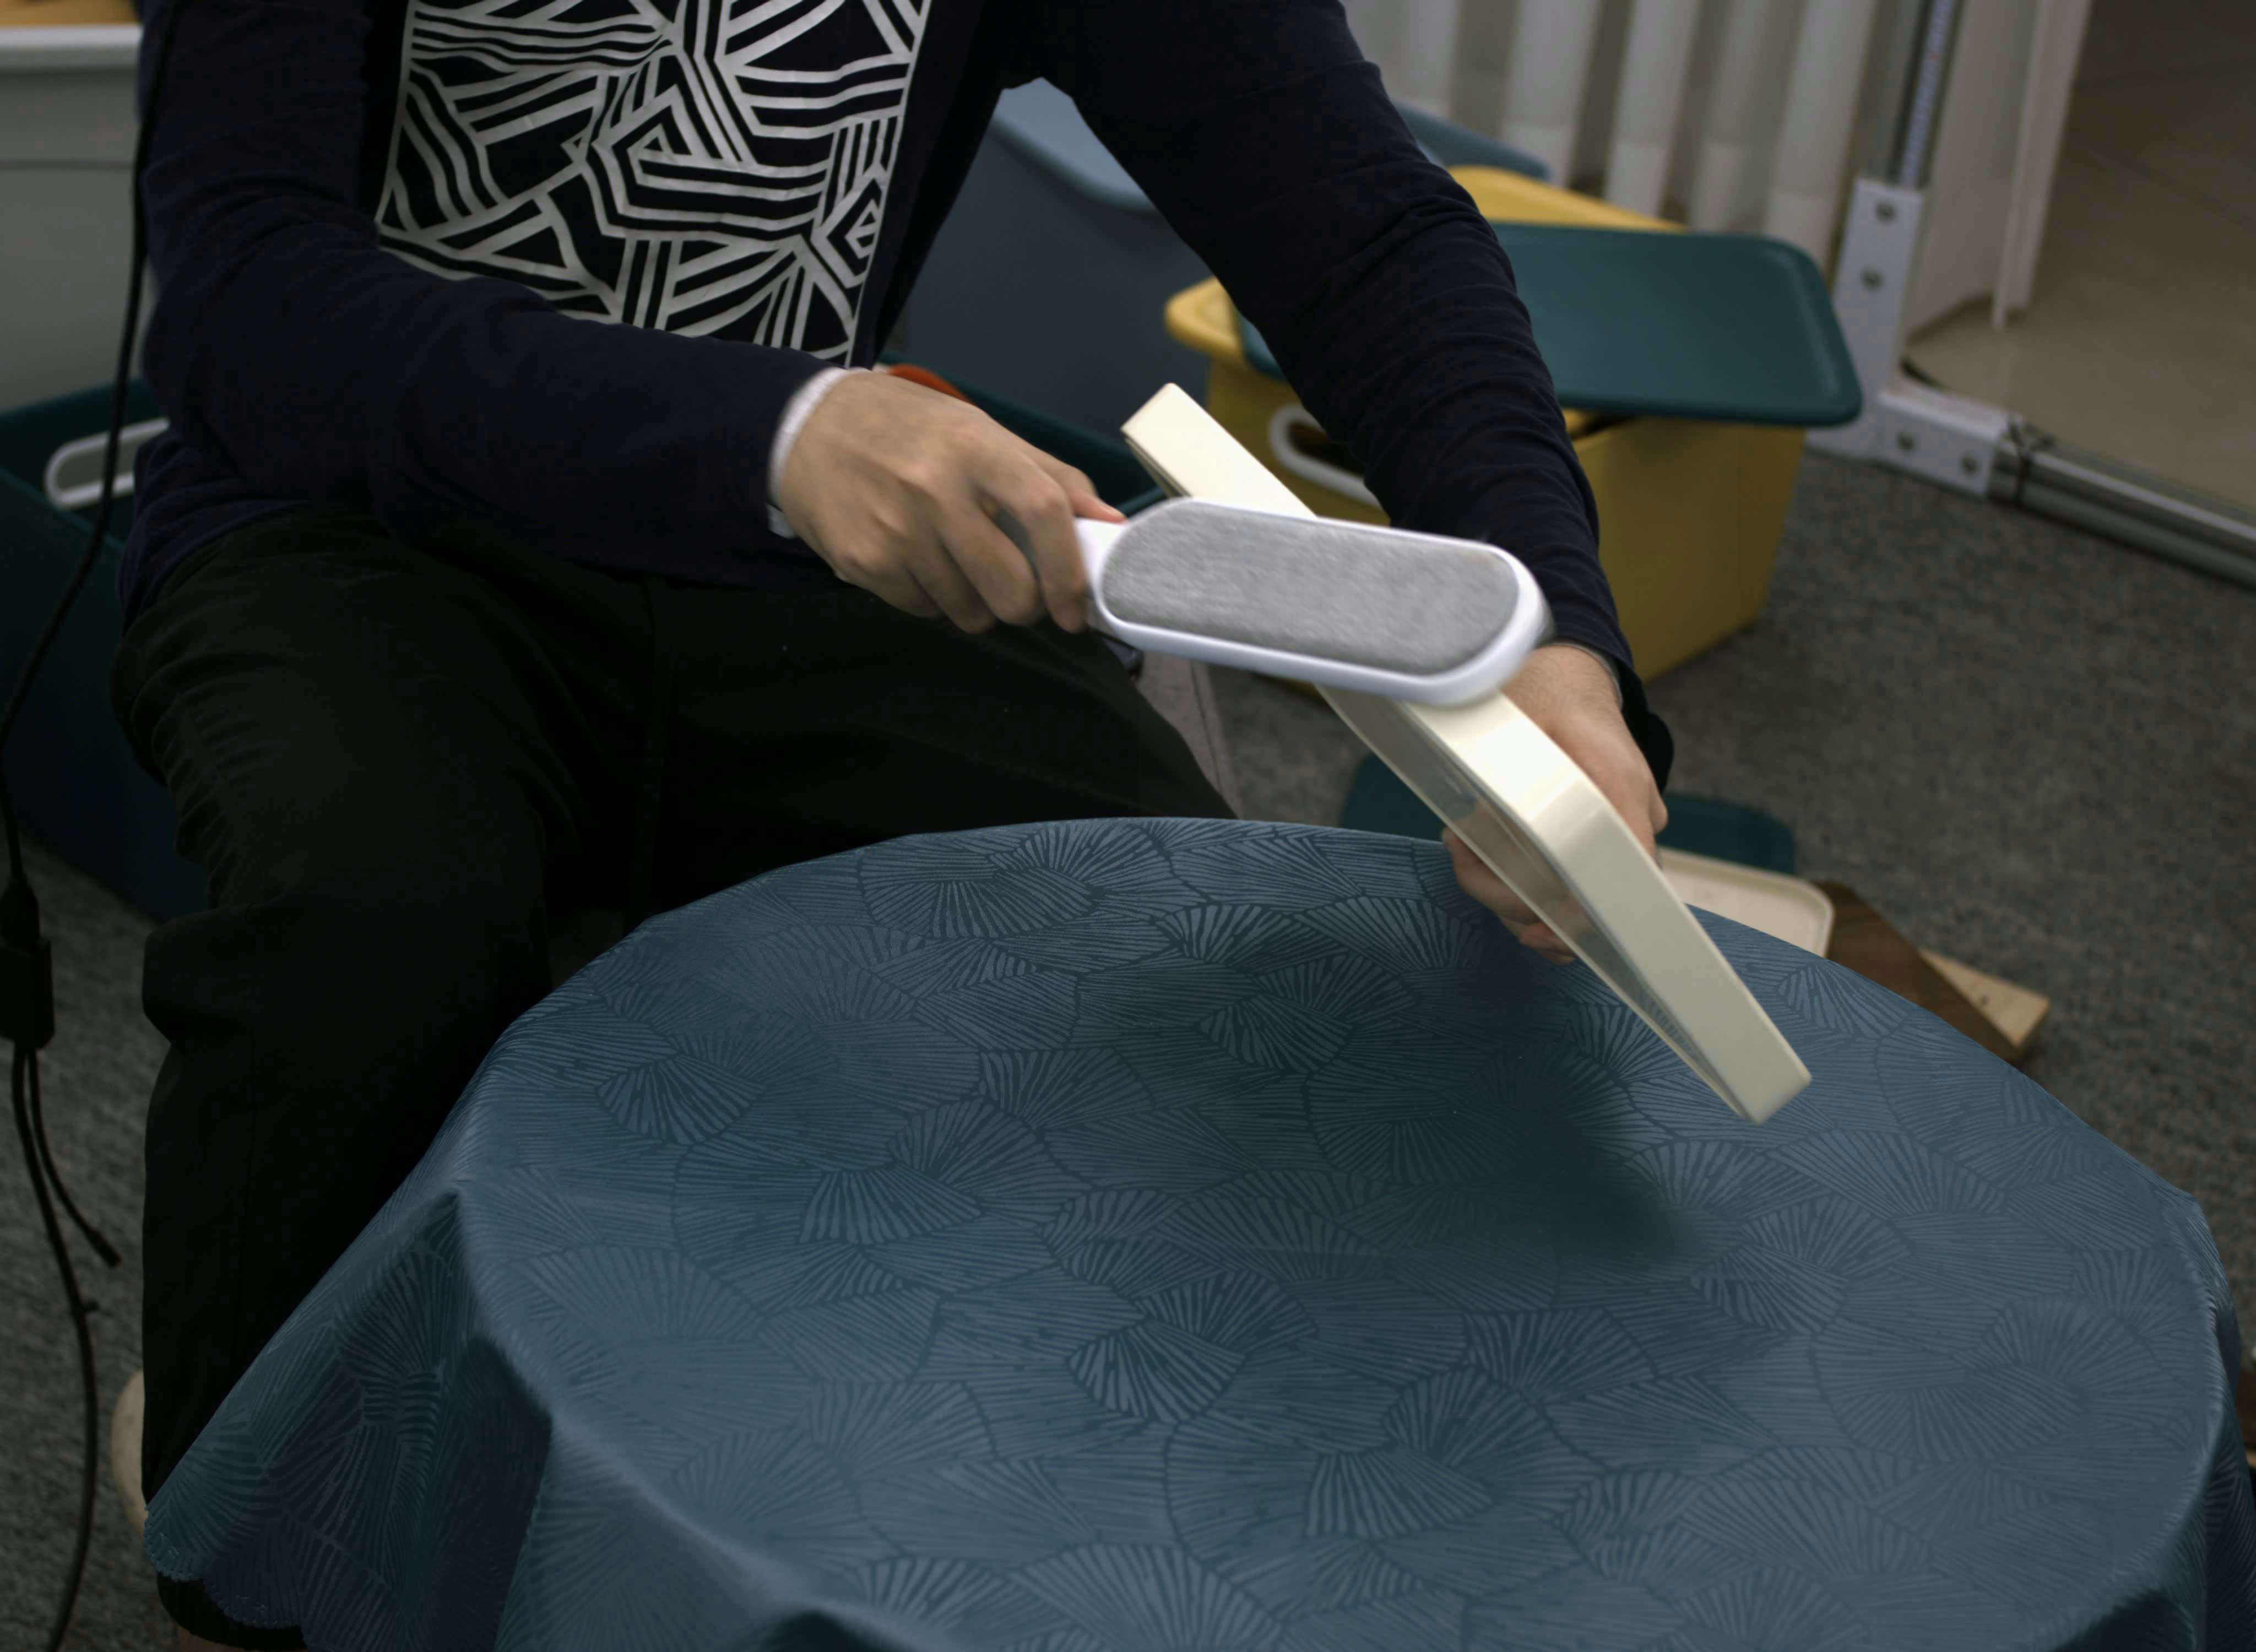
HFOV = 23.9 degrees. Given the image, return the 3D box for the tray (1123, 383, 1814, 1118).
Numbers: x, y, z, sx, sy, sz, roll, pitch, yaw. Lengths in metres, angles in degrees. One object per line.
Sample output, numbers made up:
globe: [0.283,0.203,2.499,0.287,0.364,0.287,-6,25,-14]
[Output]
tray: [0.113,-0.029,1.838,0.027,0.190,0.303,-41,41,-2]

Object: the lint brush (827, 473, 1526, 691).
lint brush: [0.010,-0.091,1.809,0.311,0.060,0.021,12,-21,42]
